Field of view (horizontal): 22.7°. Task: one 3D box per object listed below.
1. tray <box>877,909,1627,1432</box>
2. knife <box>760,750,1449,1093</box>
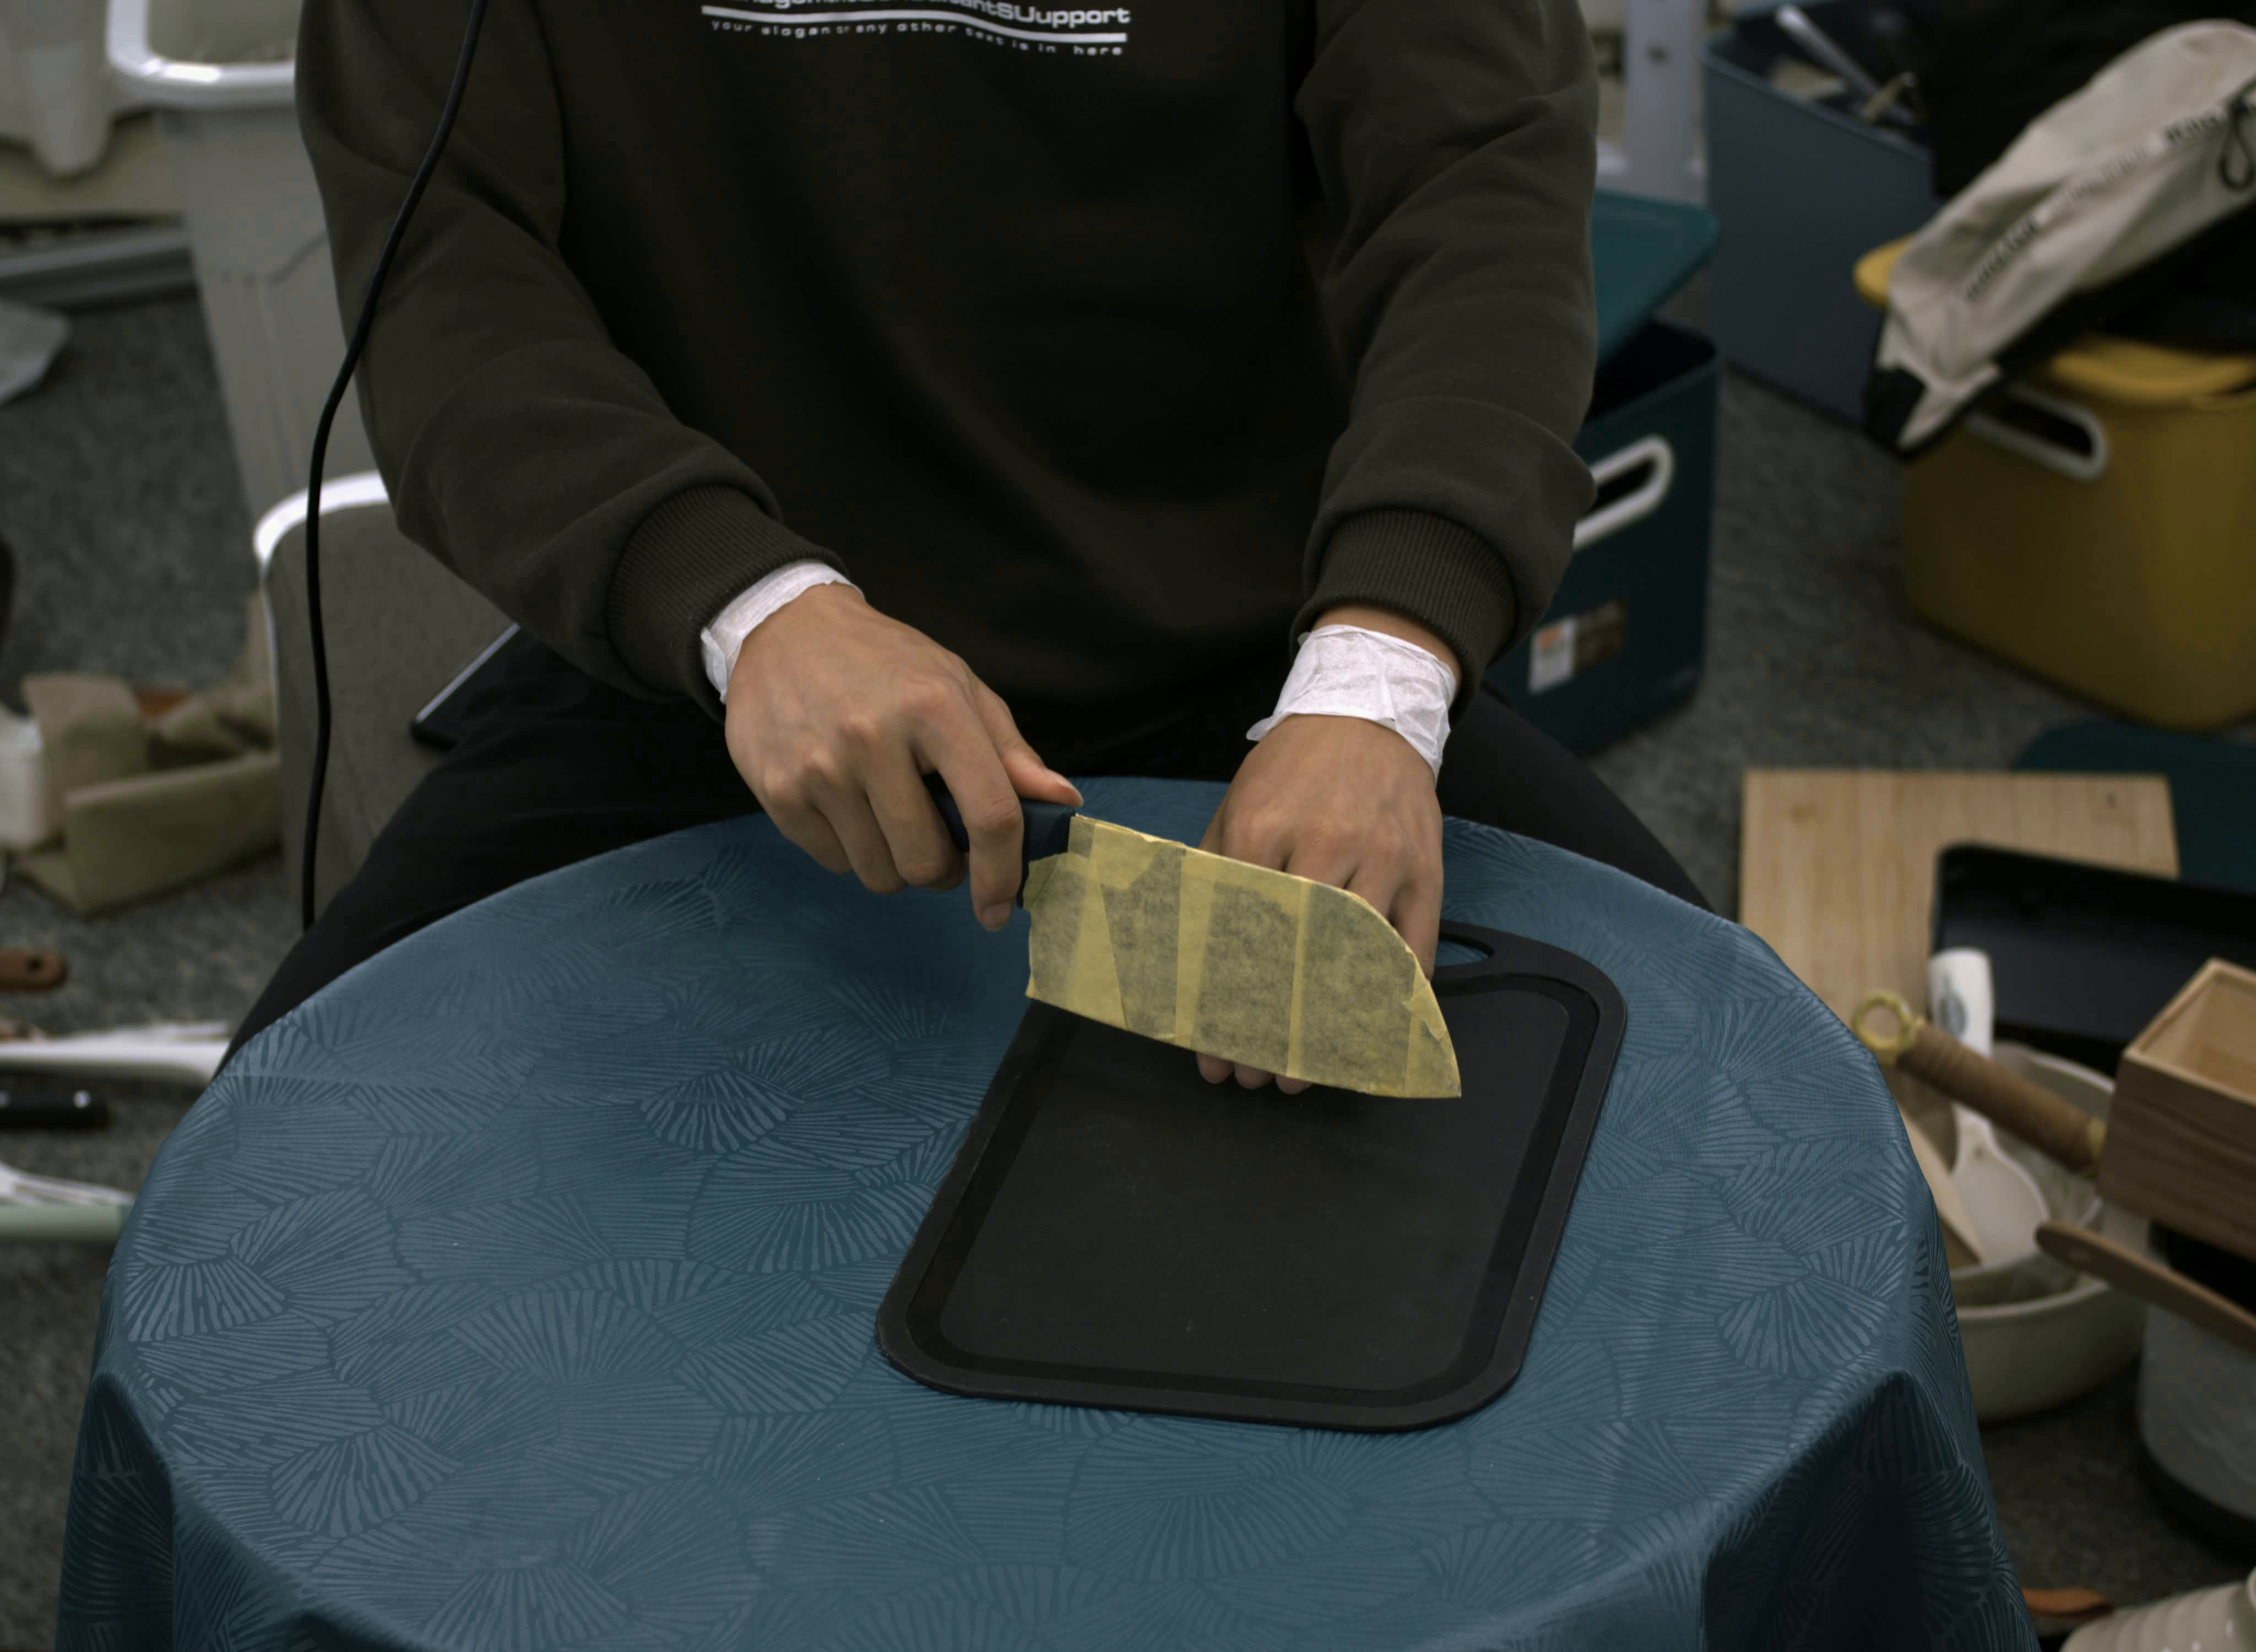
[{"bbox_3d":[0.048,0.105,1.880,0.209,0.009,0.331,4,28,13],"label":"tray"},{"bbox_3d":[-0.011,0.030,1.921,0.288,0.080,0.027,19,21,31],"label":"knife"}]
